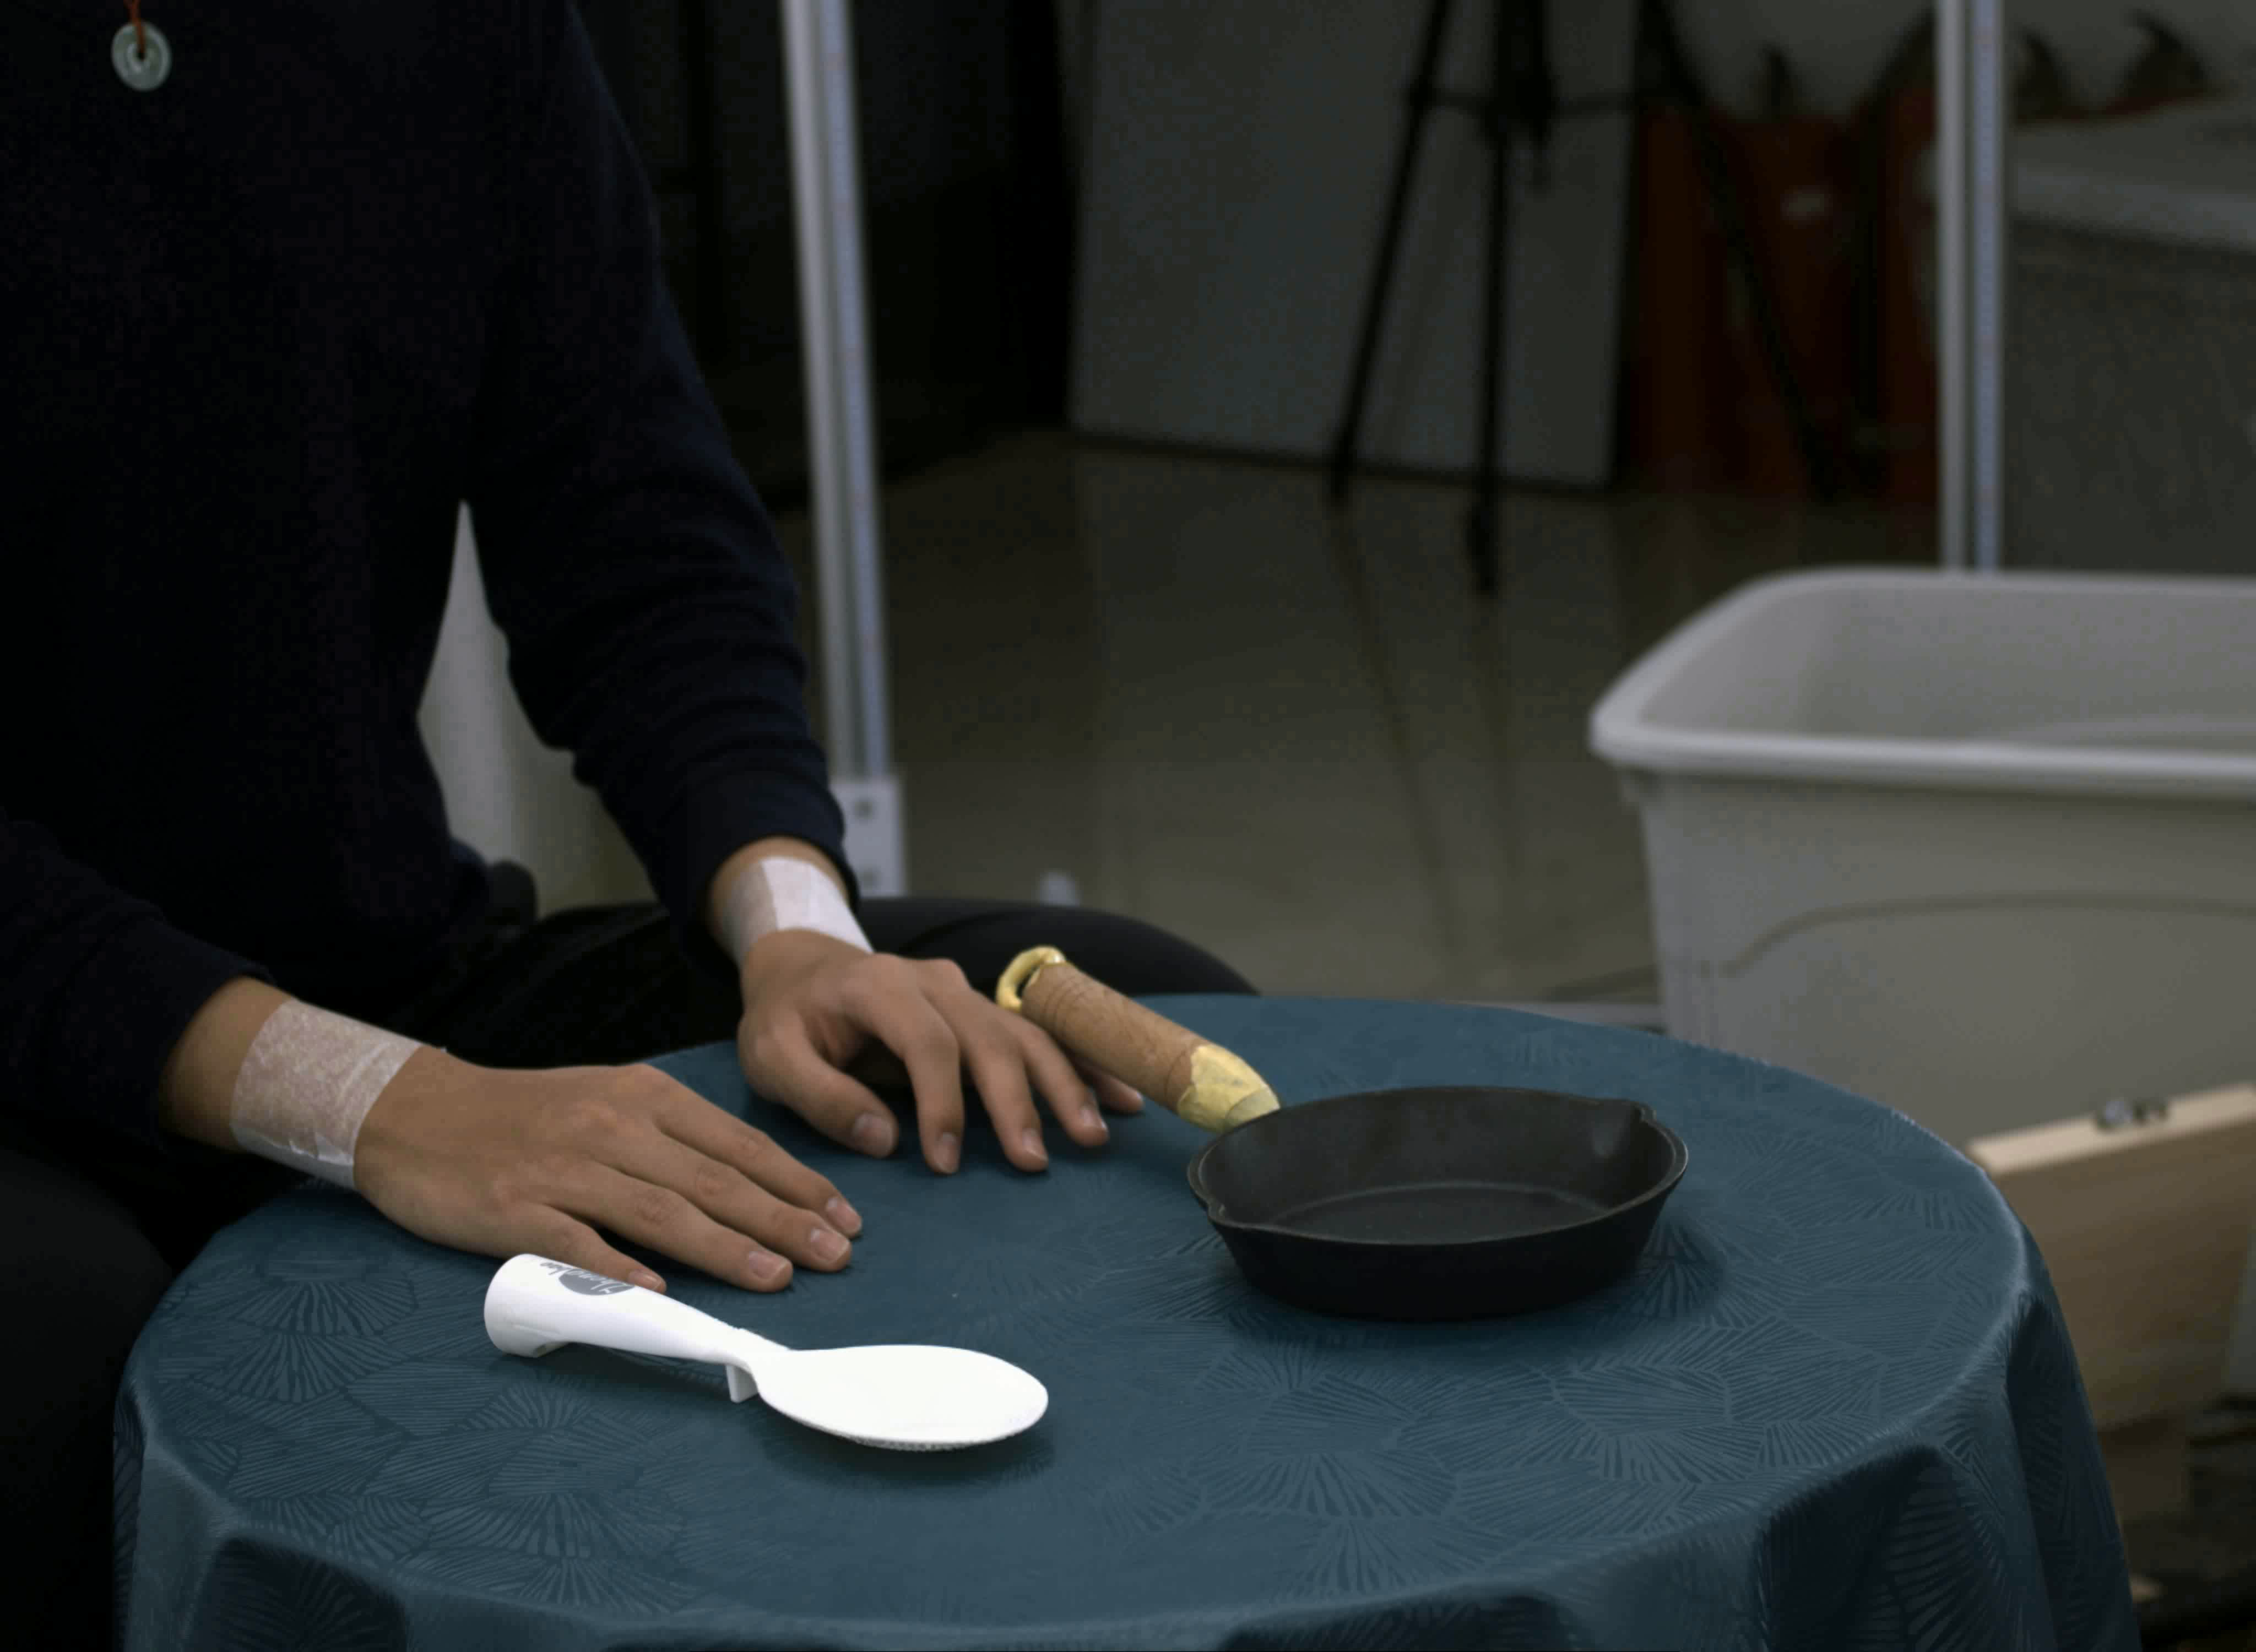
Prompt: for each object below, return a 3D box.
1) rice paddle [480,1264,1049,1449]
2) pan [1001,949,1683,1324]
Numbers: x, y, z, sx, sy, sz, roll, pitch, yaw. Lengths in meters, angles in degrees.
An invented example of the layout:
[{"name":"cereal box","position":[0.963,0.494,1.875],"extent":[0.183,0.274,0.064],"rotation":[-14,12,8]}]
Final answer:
[{"name":"rice paddle","position":[-0.108,0.157,1.596],"extent":[0.207,0.030,0.067],"rotation":[6,19,39]},{"name":"pan","position":[0.051,0.096,1.750],"extent":[0.165,0.050,0.328],"rotation":[-12,17,-30]}]
